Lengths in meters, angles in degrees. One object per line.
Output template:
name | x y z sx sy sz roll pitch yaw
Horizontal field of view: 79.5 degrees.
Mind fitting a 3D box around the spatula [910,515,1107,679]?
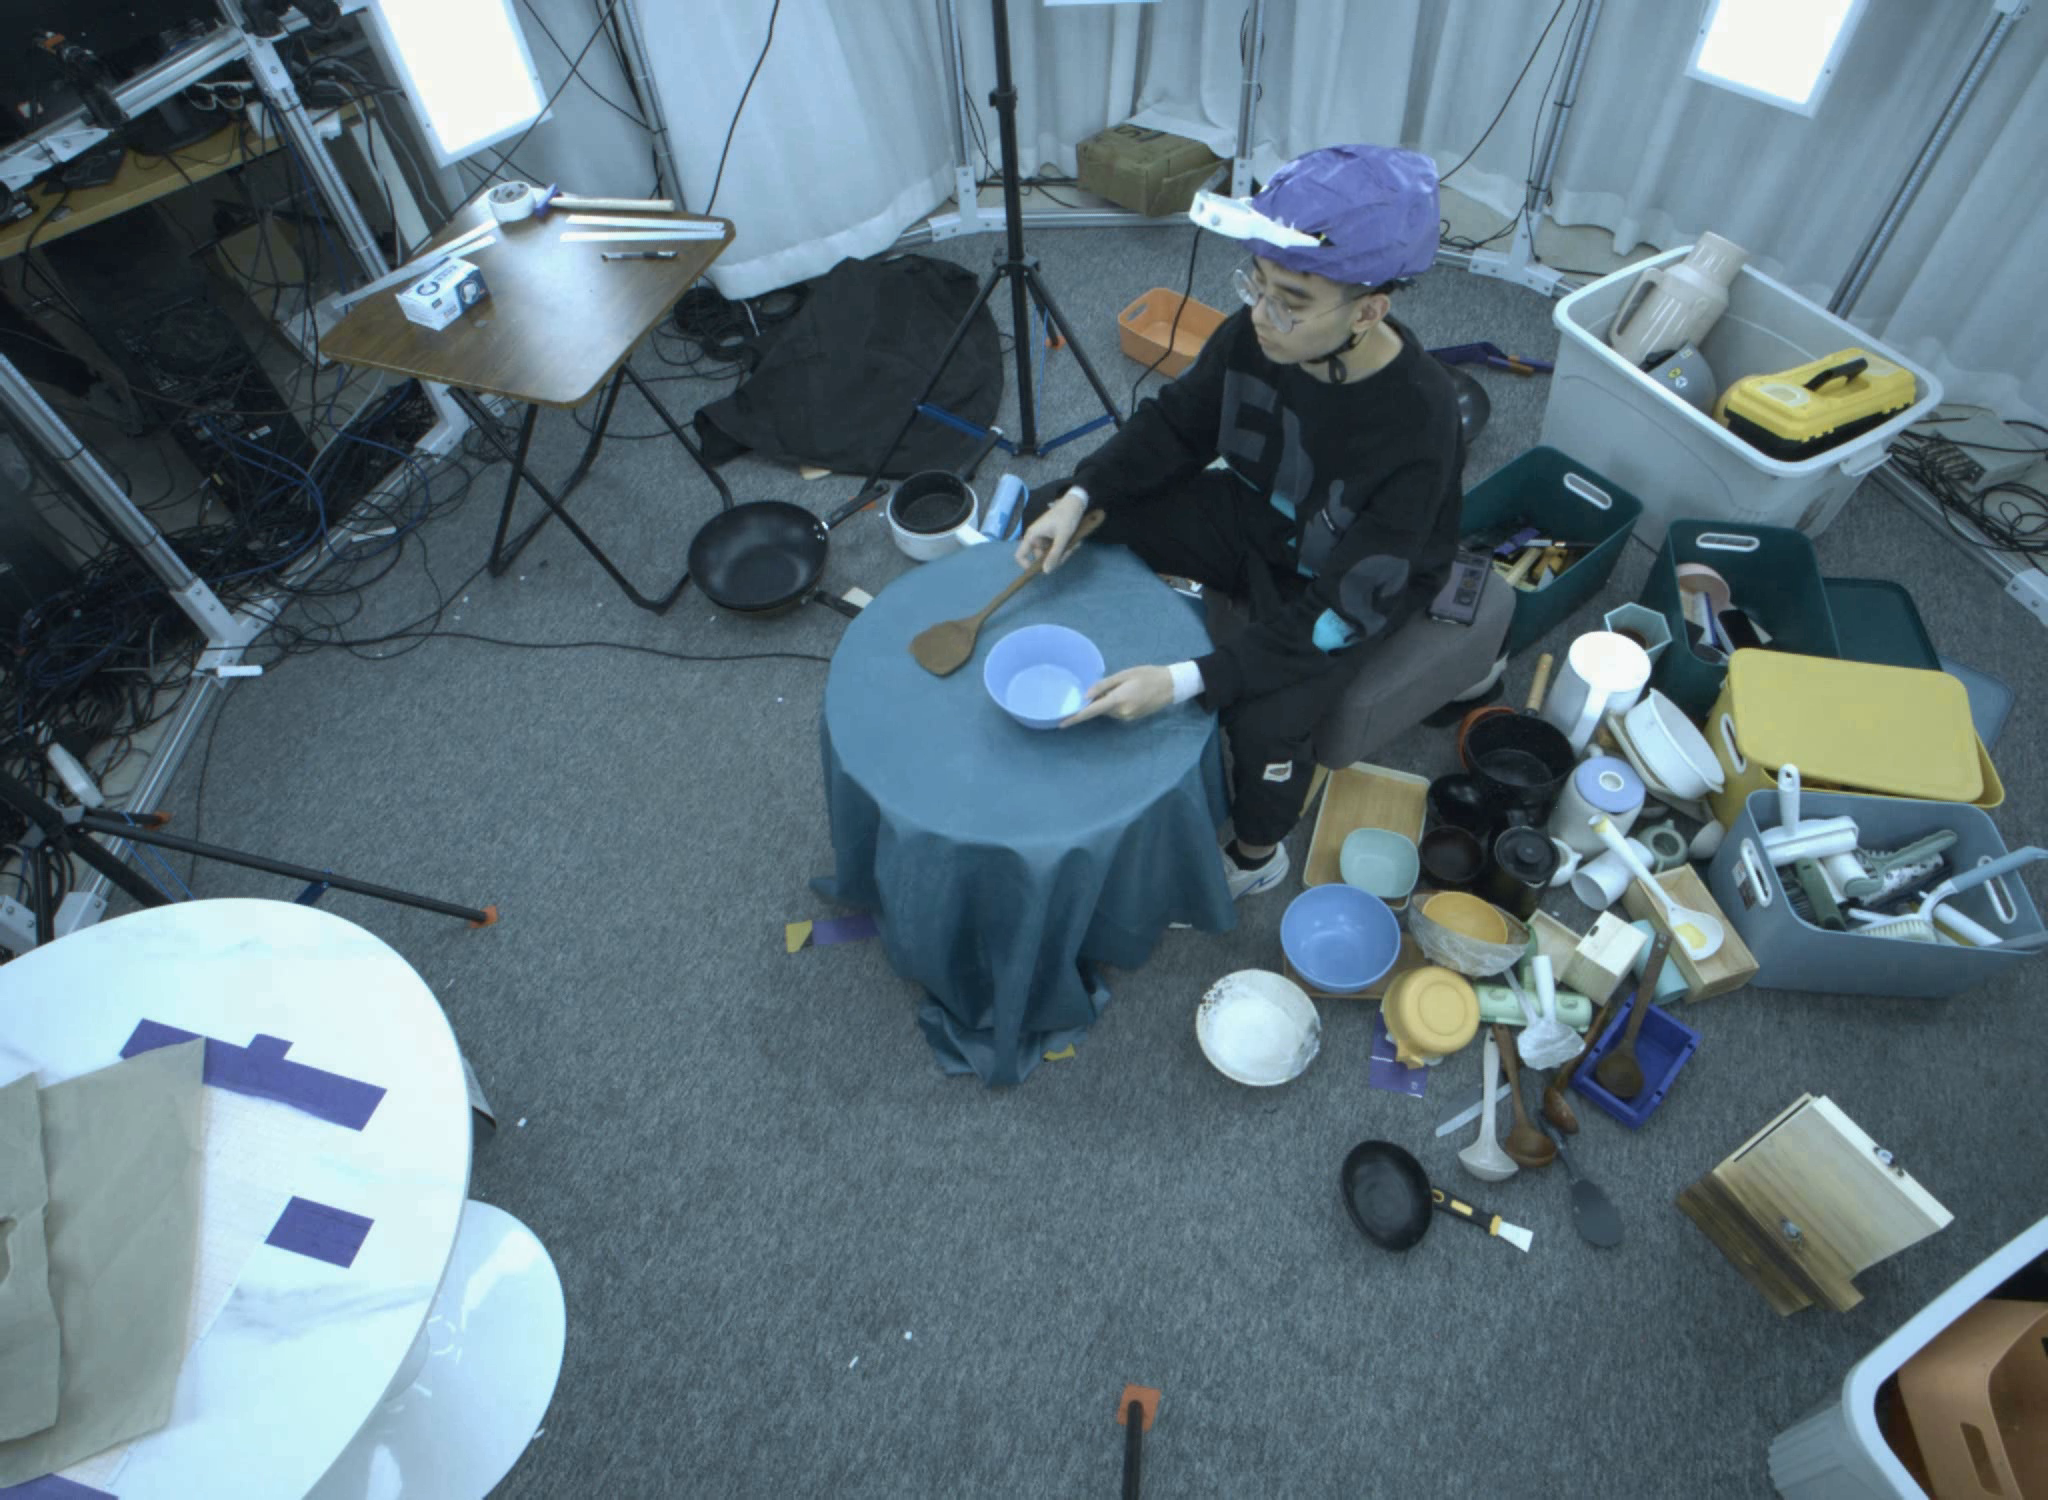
spatula | -0.015 -0.250 1.928 0.387 0.016 0.094 -41 61 -10

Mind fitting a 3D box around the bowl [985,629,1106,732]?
bowl | 0.031 -0.092 1.817 0.176 0.071 0.174 1 56 -1
